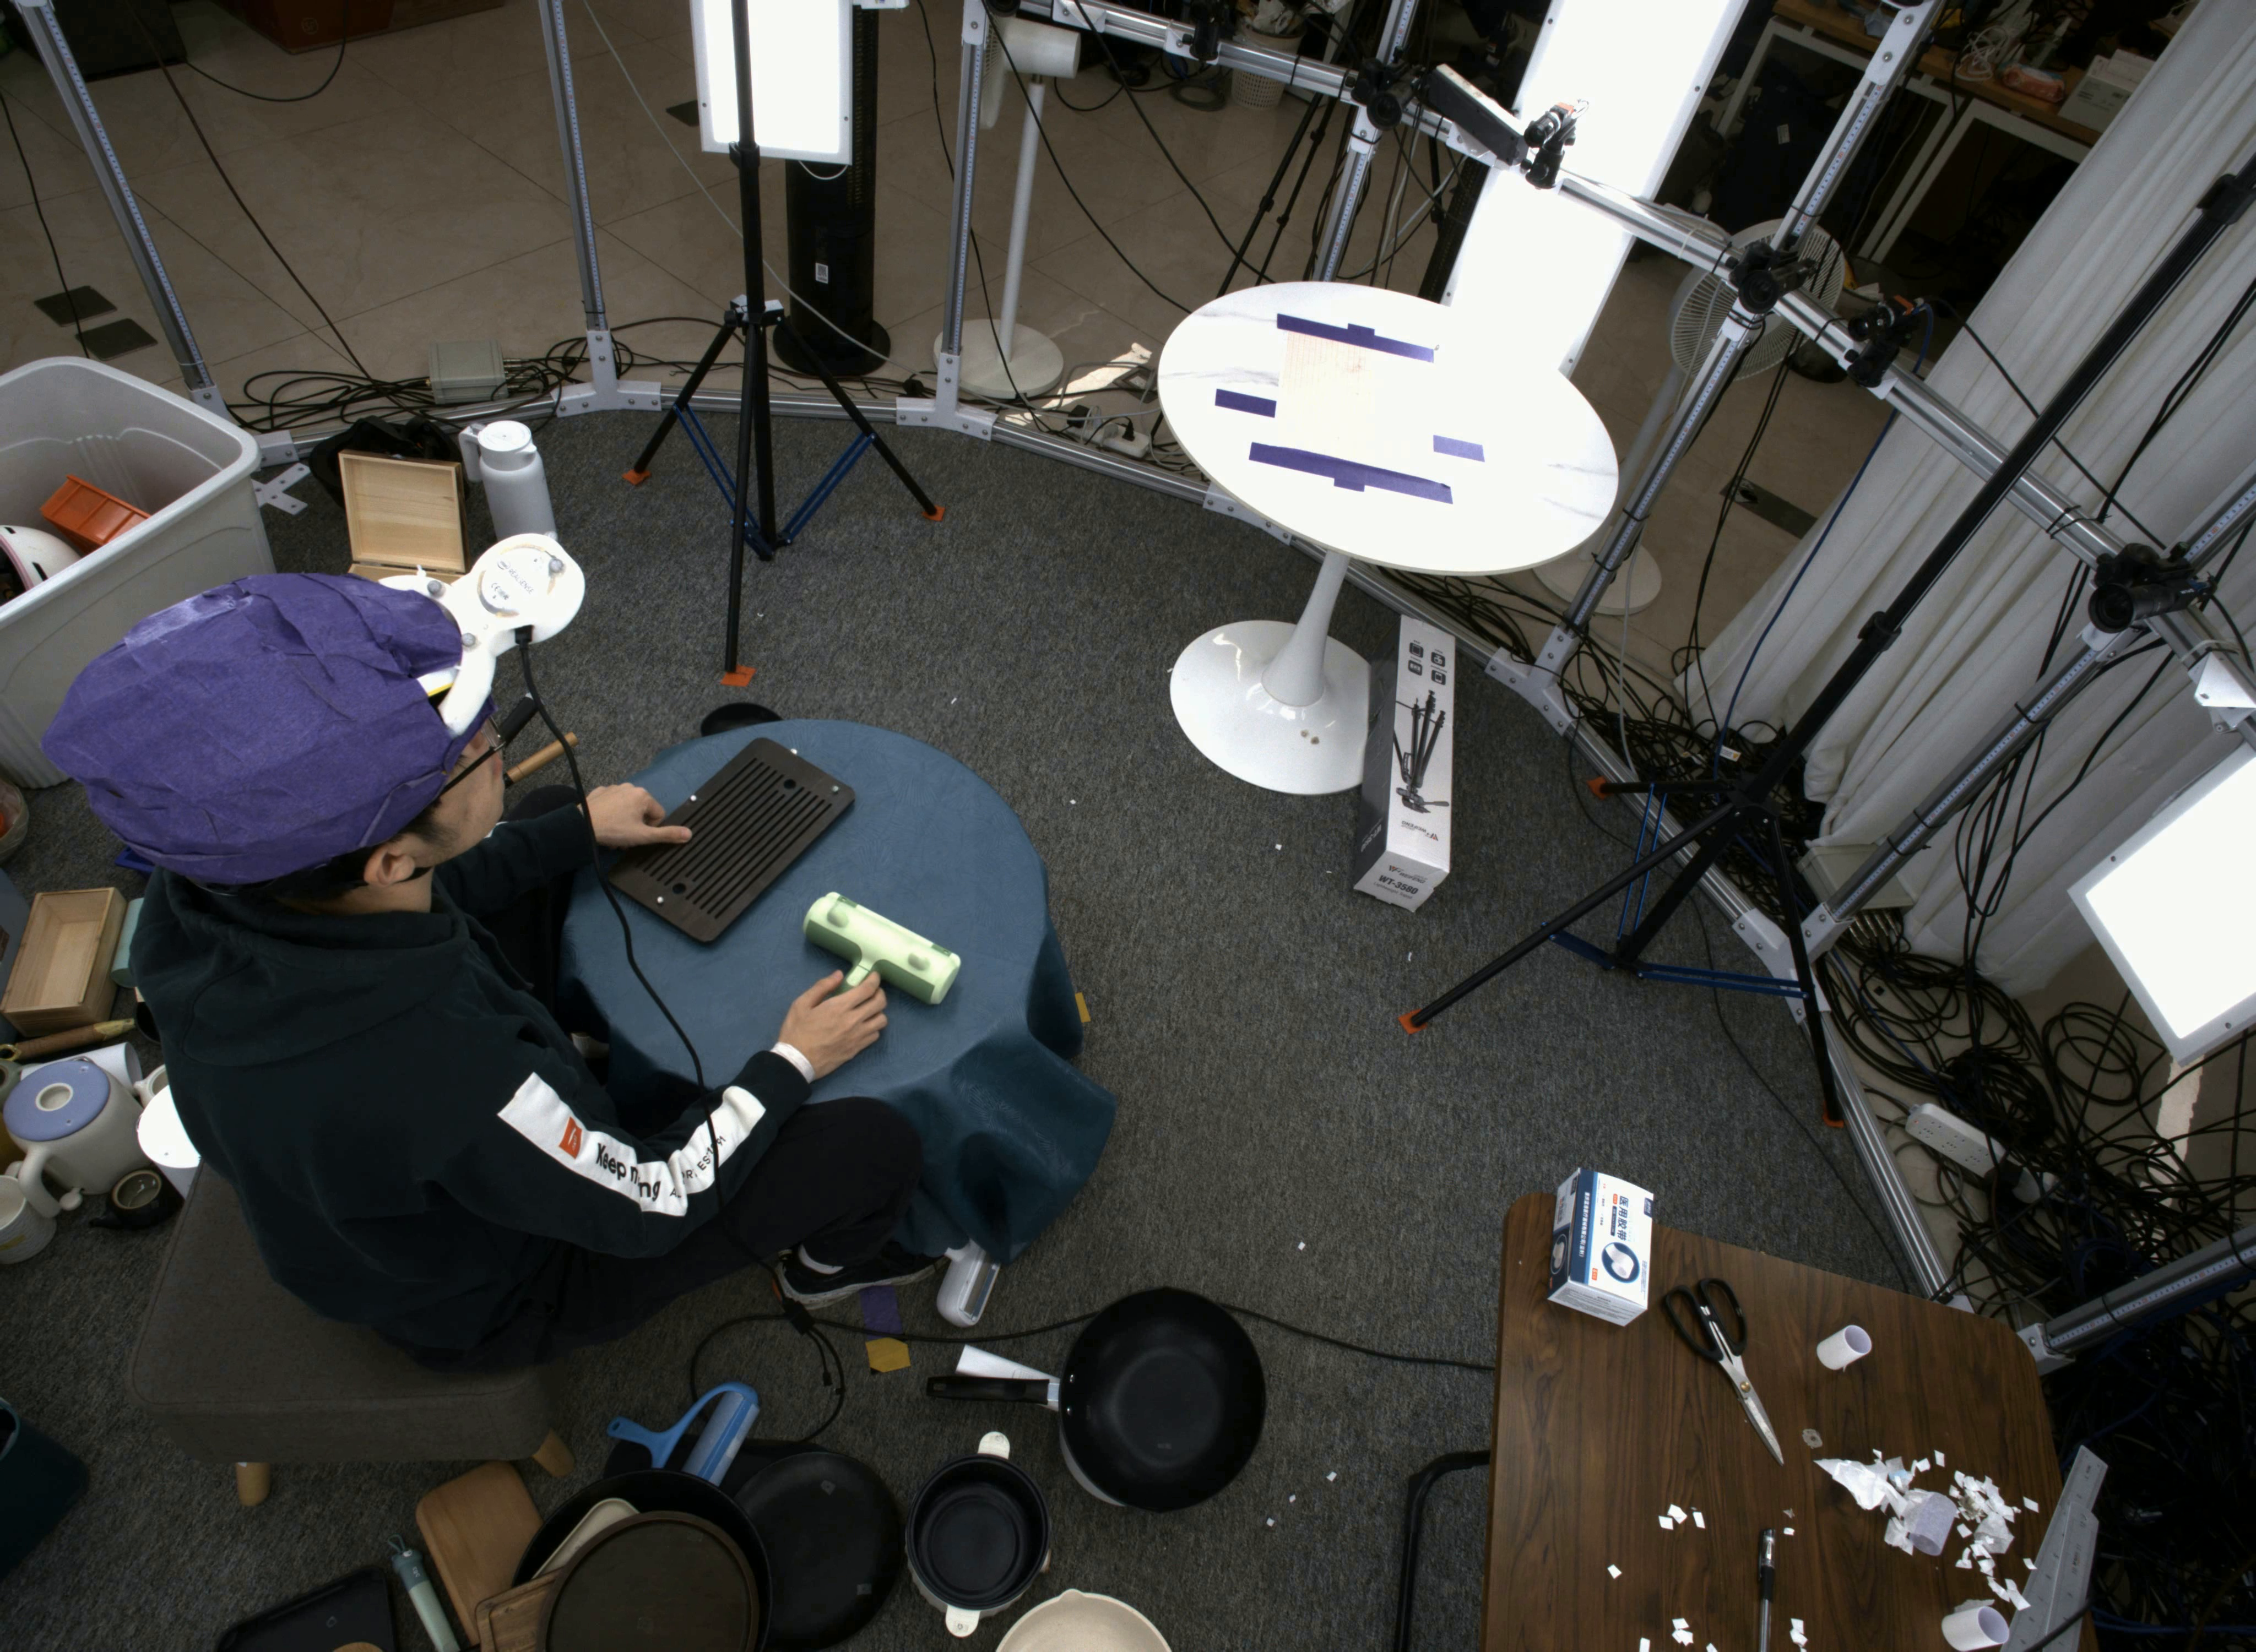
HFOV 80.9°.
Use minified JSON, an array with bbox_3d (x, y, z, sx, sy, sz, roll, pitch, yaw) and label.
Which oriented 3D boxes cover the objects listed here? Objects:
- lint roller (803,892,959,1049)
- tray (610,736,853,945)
[{"bbox_3d":[-0.330,0.181,1.570,0.196,0.084,0.182,27,49,6],"label":"lint roller"},{"bbox_3d":[-0.514,0.012,1.685,0.167,0.019,0.305,31,53,8],"label":"tray"}]
